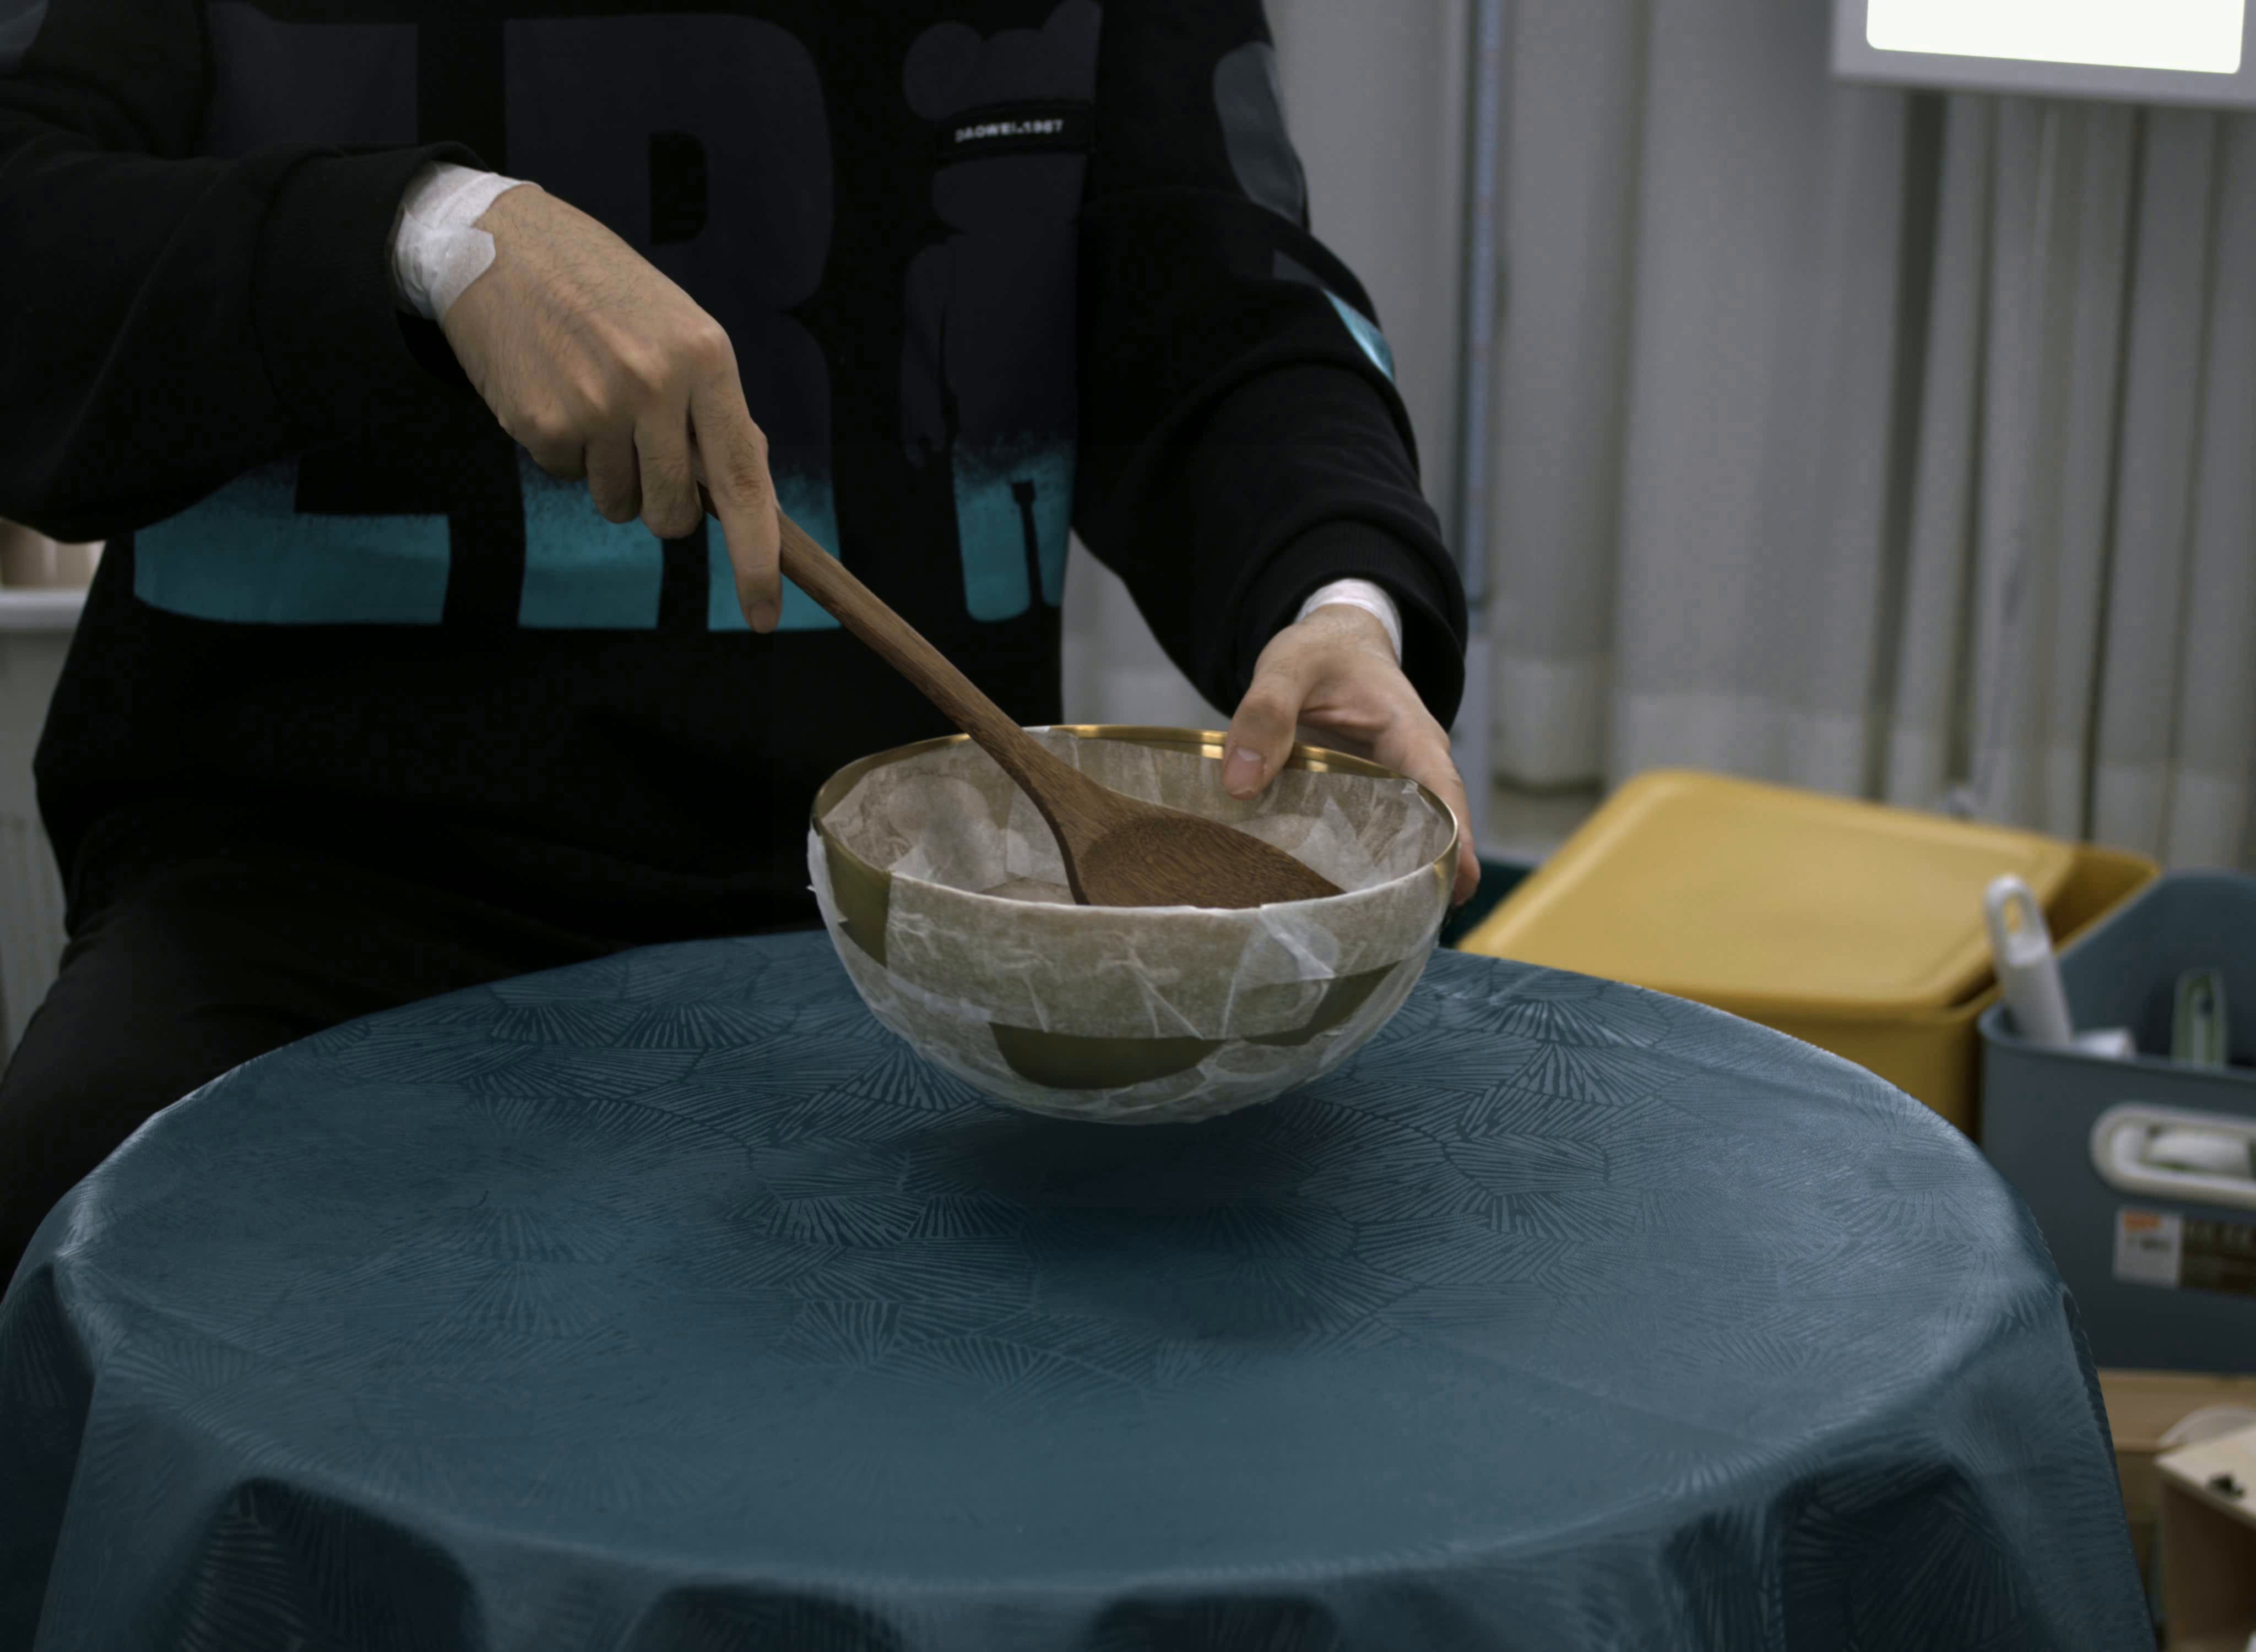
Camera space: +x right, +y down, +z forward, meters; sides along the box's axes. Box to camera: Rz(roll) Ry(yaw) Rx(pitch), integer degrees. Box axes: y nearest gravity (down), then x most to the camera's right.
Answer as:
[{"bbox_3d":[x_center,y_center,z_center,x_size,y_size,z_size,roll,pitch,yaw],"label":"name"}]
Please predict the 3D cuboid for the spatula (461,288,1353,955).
[{"bbox_3d":[-0.077,-0.062,1.676,0.382,0.016,0.096,40,37,17],"label":"spatula"}]

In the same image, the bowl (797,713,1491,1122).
[{"bbox_3d":[0.002,0.036,1.623,0.214,0.095,0.213,1,16,0],"label":"bowl"}]
